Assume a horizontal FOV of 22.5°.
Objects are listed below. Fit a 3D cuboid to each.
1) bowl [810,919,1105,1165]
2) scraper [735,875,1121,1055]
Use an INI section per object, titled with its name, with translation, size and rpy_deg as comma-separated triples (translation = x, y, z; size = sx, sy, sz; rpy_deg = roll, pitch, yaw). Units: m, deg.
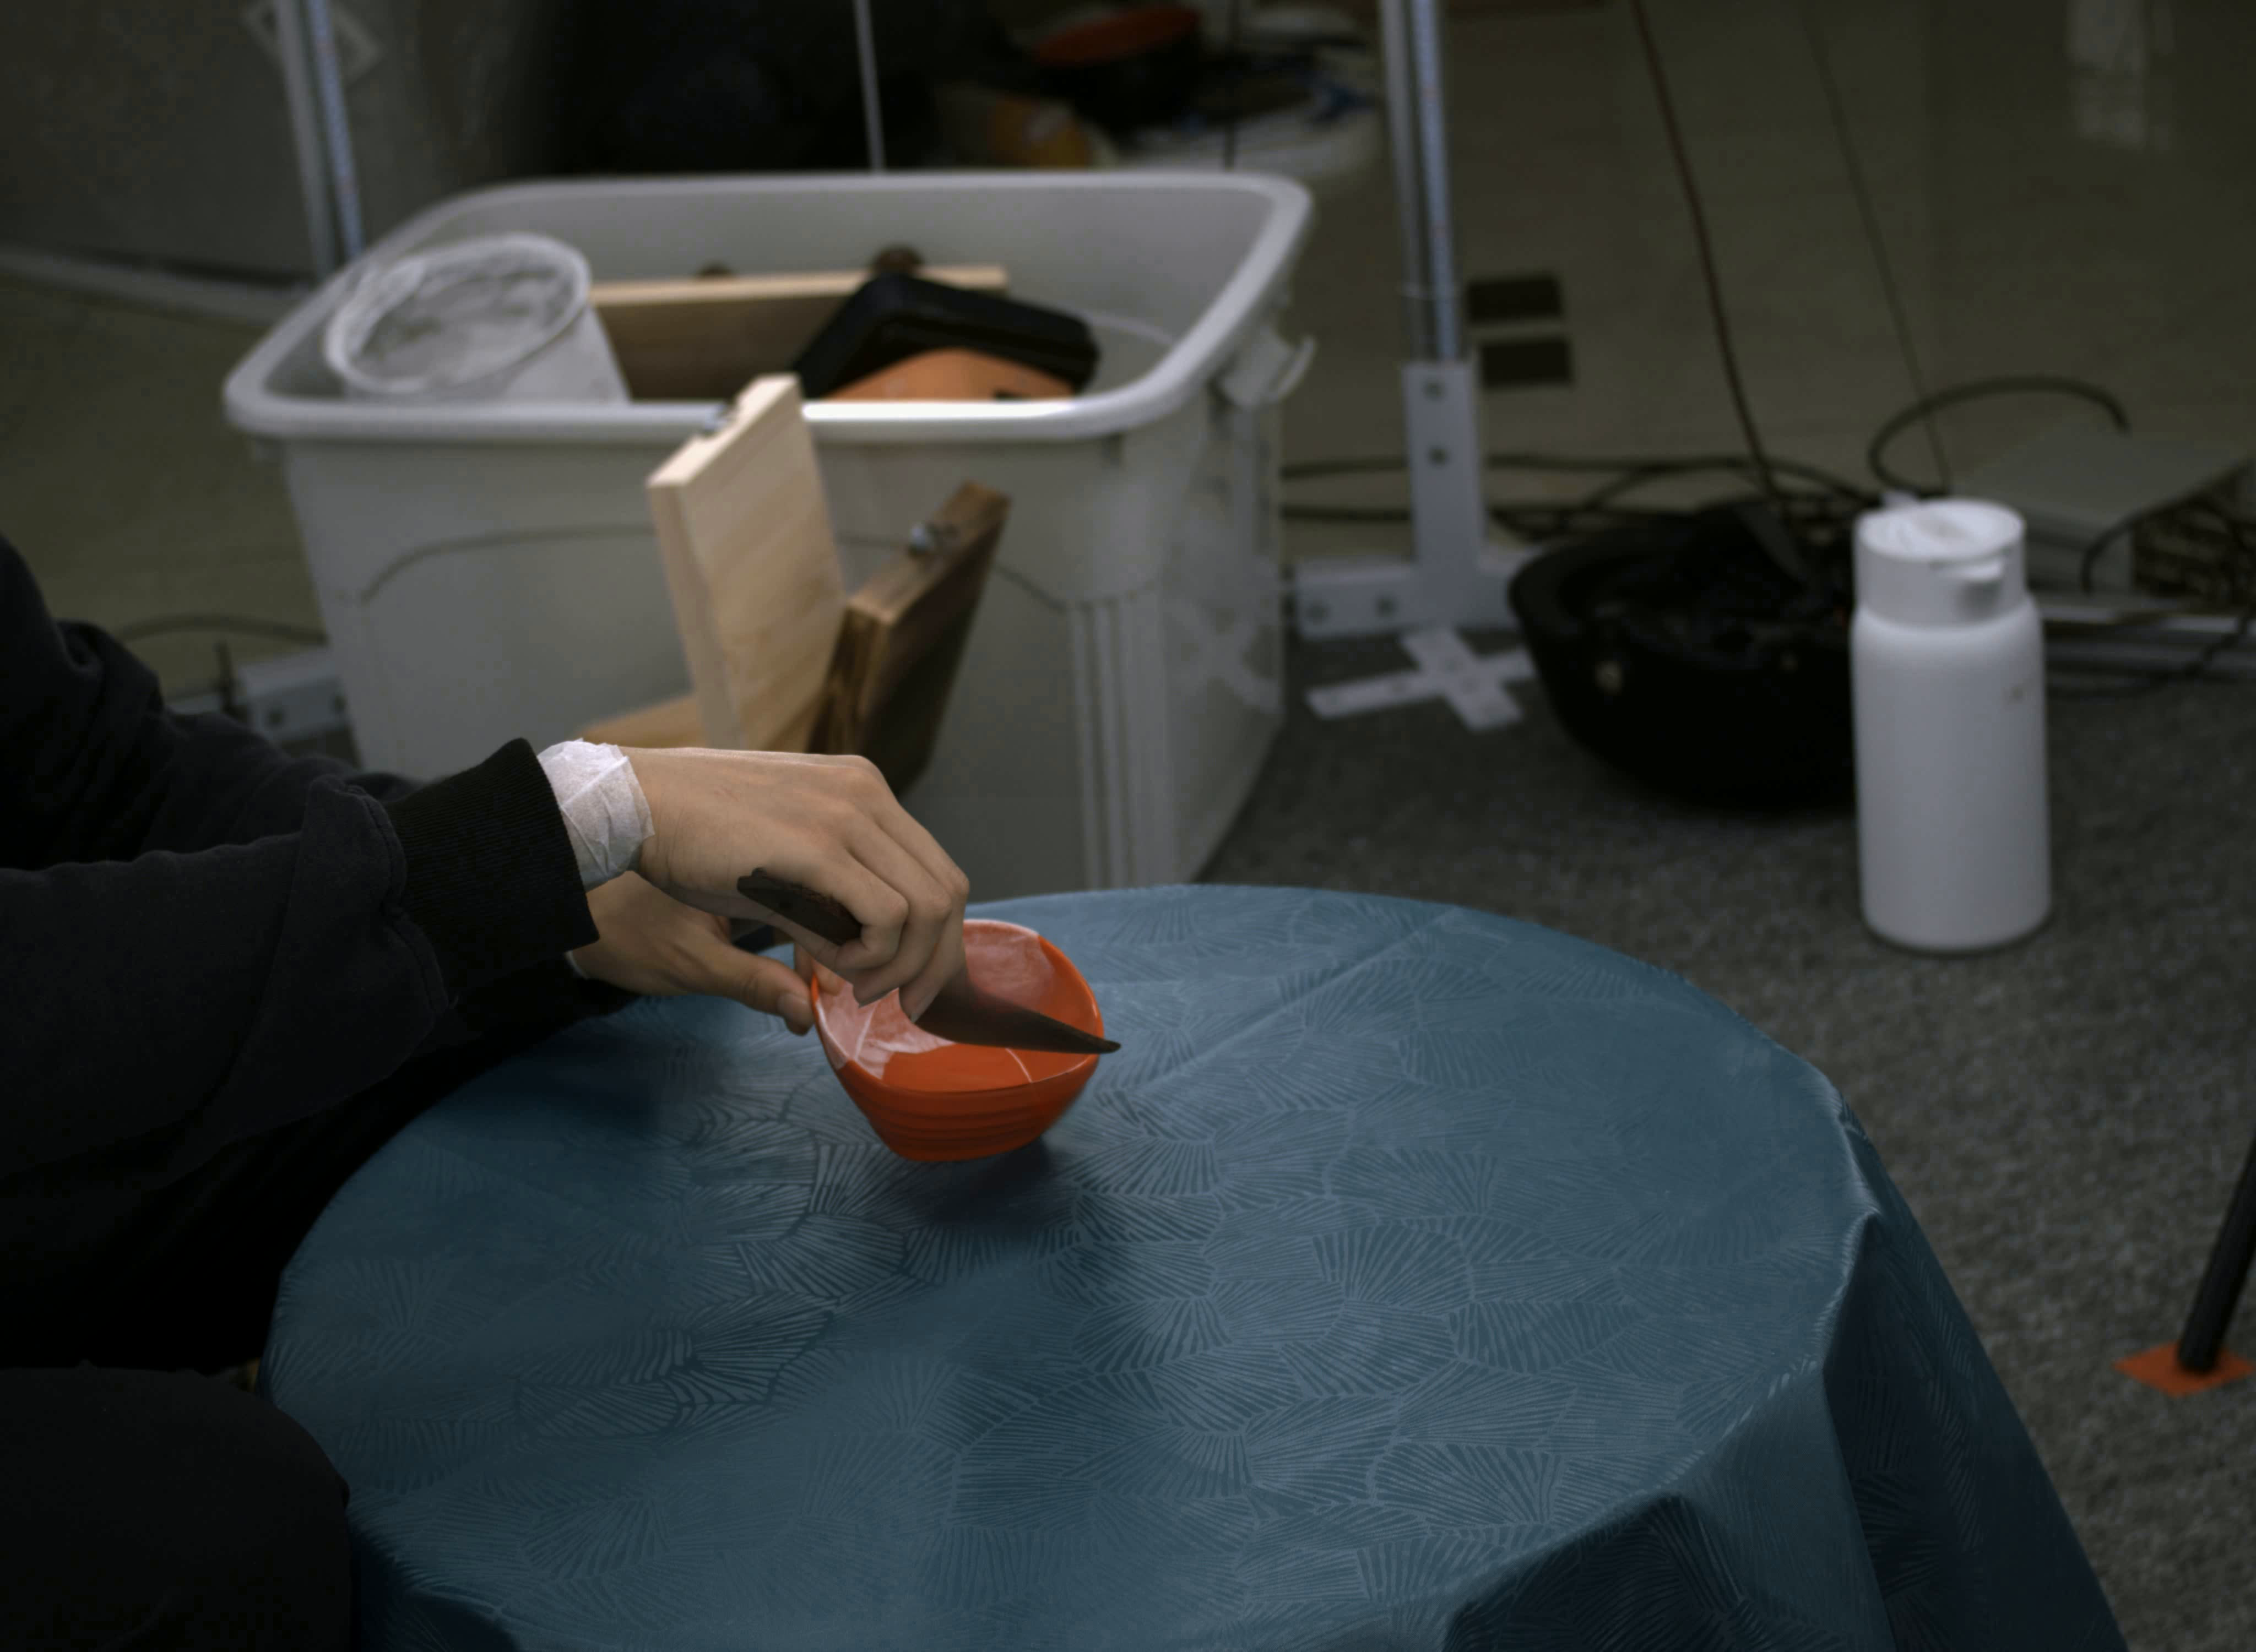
[bowl]
translation = -0.068, 0.090, 2.195
size = 0.119, 0.052, 0.117
rpy_deg = 5, 37, -4
[scraper]
translation = -0.080, 0.053, 2.067
size = 0.075, 0.011, 0.213
rpy_deg = 2, -18, 30
